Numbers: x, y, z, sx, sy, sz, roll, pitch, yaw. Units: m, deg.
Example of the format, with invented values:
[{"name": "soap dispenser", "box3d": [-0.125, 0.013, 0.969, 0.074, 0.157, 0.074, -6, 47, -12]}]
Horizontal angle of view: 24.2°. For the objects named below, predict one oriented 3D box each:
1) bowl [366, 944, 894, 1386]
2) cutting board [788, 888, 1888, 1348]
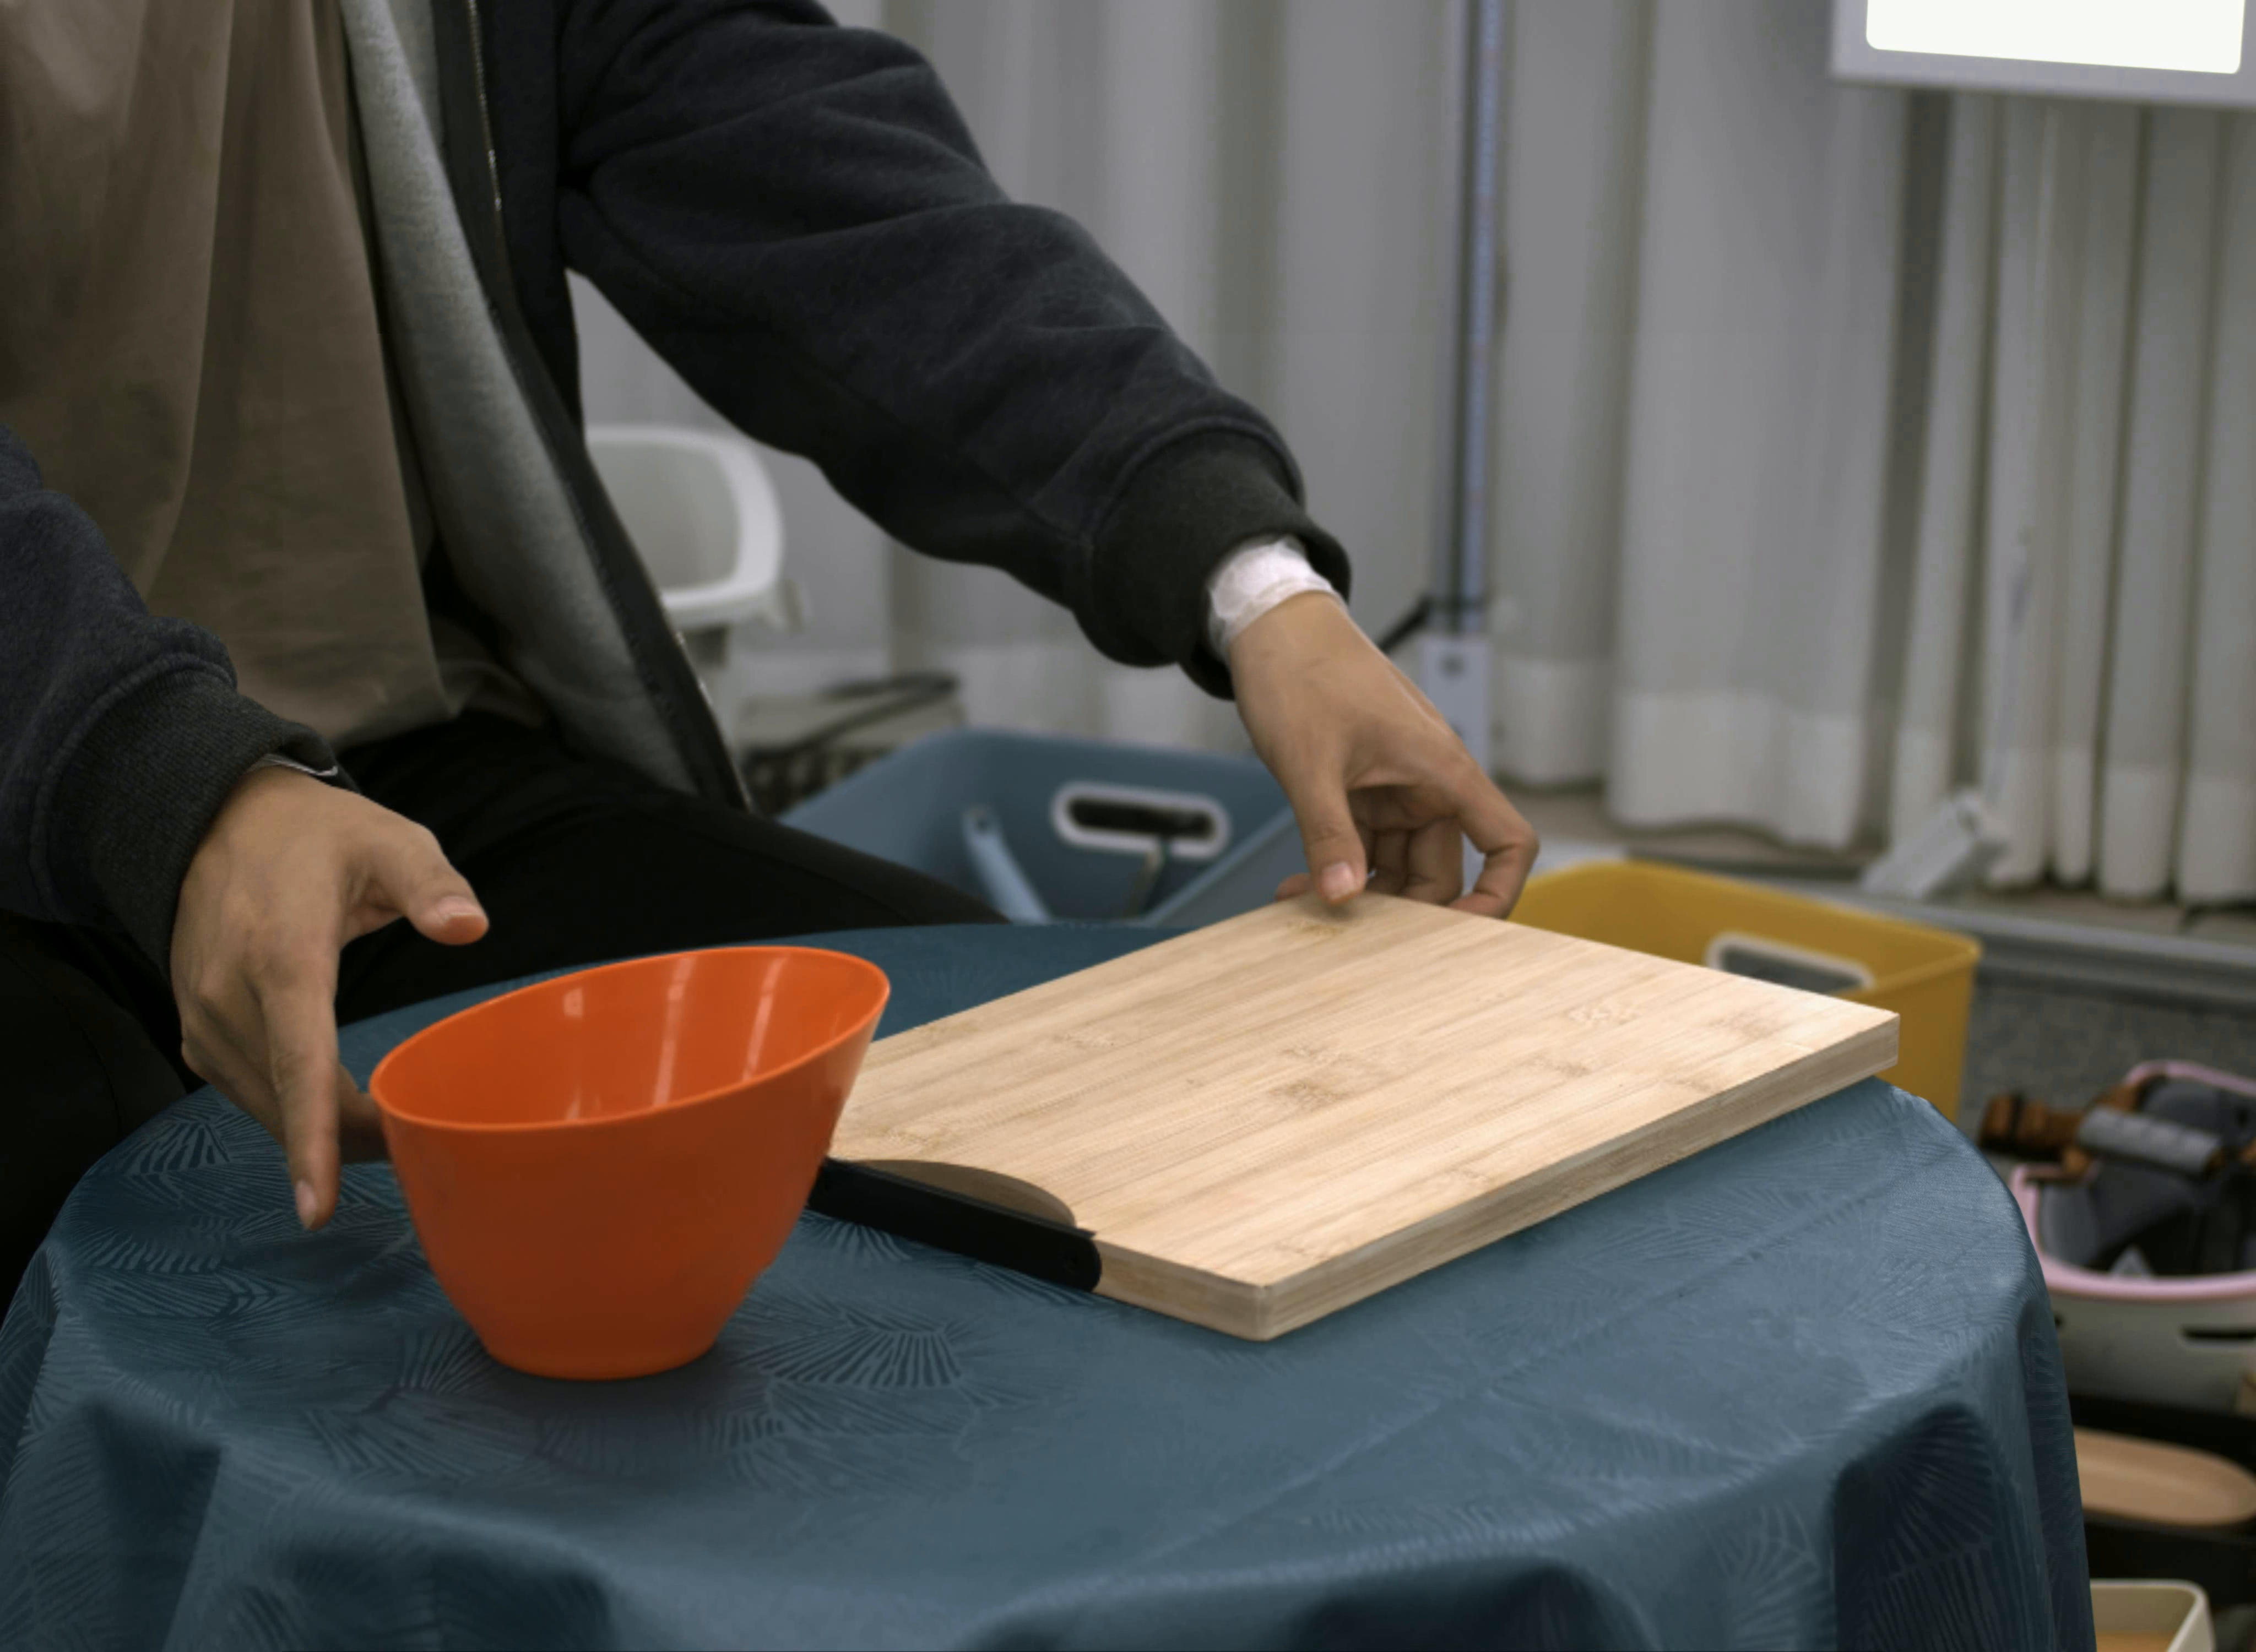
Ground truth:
[{"name": "bowl", "box3d": [-0.139, 0.097, 1.481, 0.147, 0.105, 0.147, 1, 18, 0]}, {"name": "cutting board", "box3d": [0.051, 0.086, 1.689, 0.247, 0.024, 0.350, 12, 19, 37]}]
